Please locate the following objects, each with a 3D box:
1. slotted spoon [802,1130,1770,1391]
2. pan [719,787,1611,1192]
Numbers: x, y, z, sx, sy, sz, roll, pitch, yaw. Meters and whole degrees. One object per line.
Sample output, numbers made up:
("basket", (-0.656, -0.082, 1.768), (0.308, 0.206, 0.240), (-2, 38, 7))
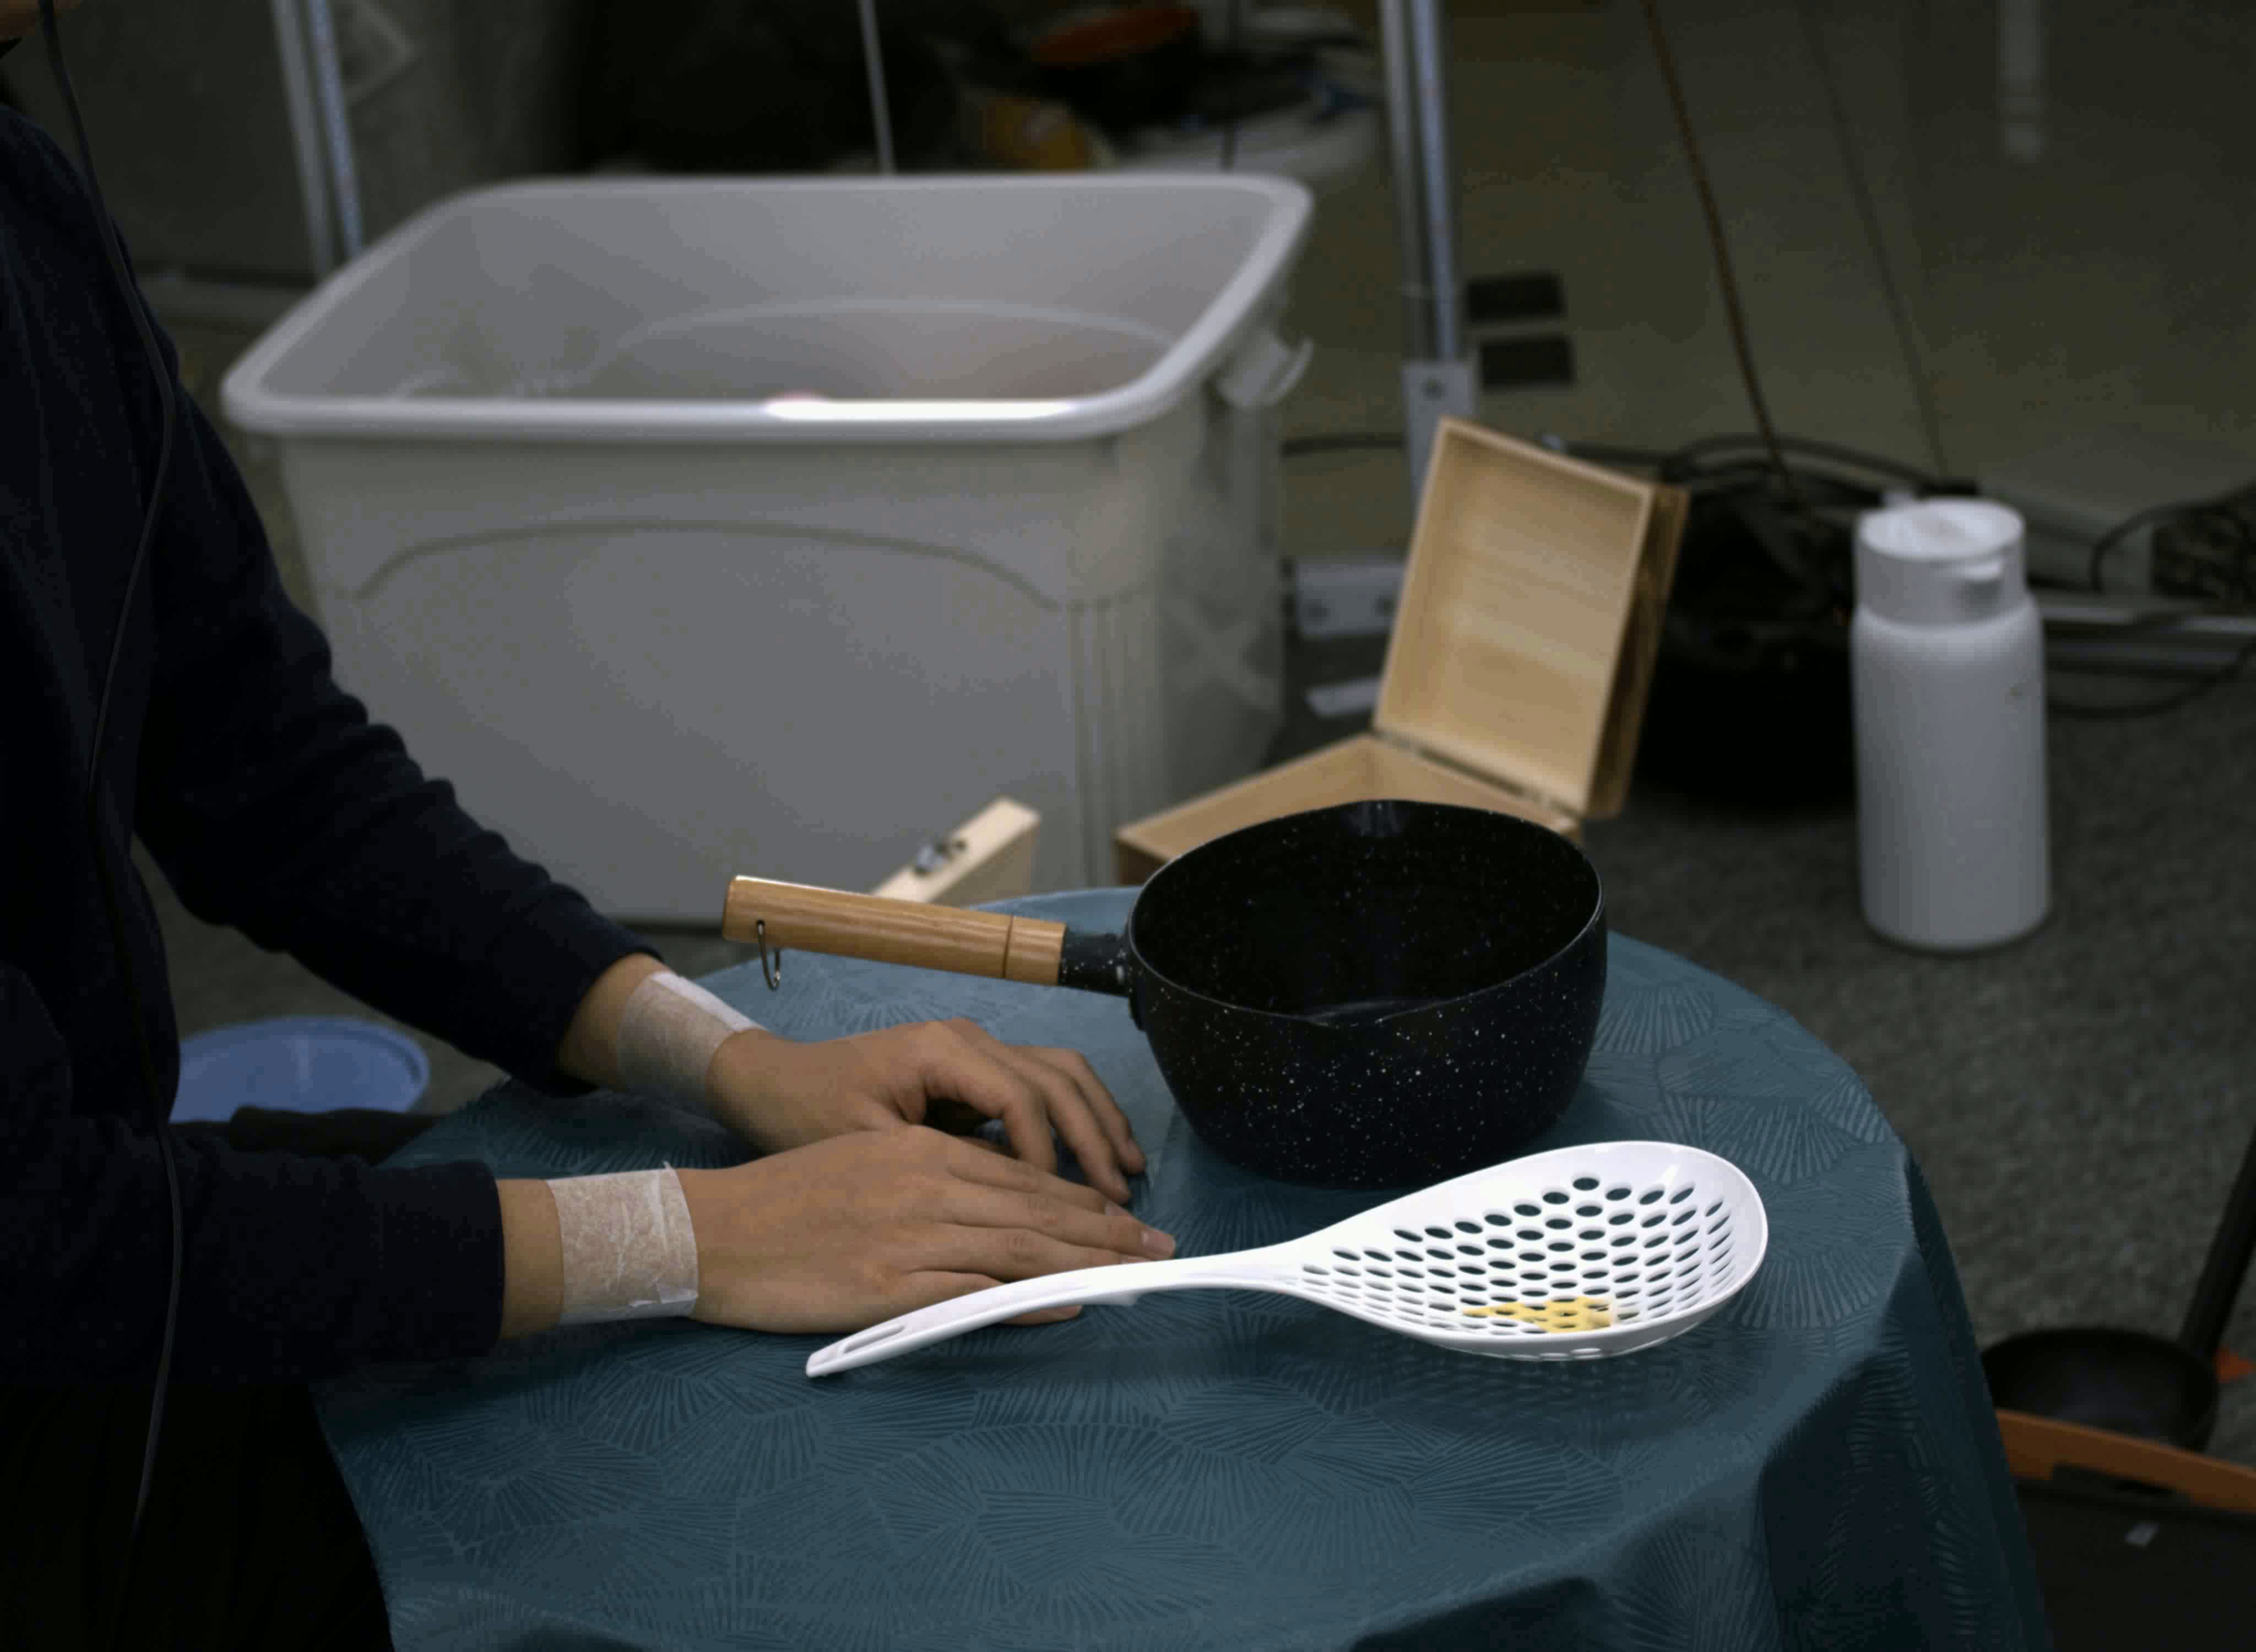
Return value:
("slotted spoon", (0.054, 0.167, 2.022), (0.347, 0.051, 0.135), (-3, 27, 4))
("pan", (0.015, 0.062, 2.179), (0.342, 0.110, 0.204), (-2, 27, 6))
